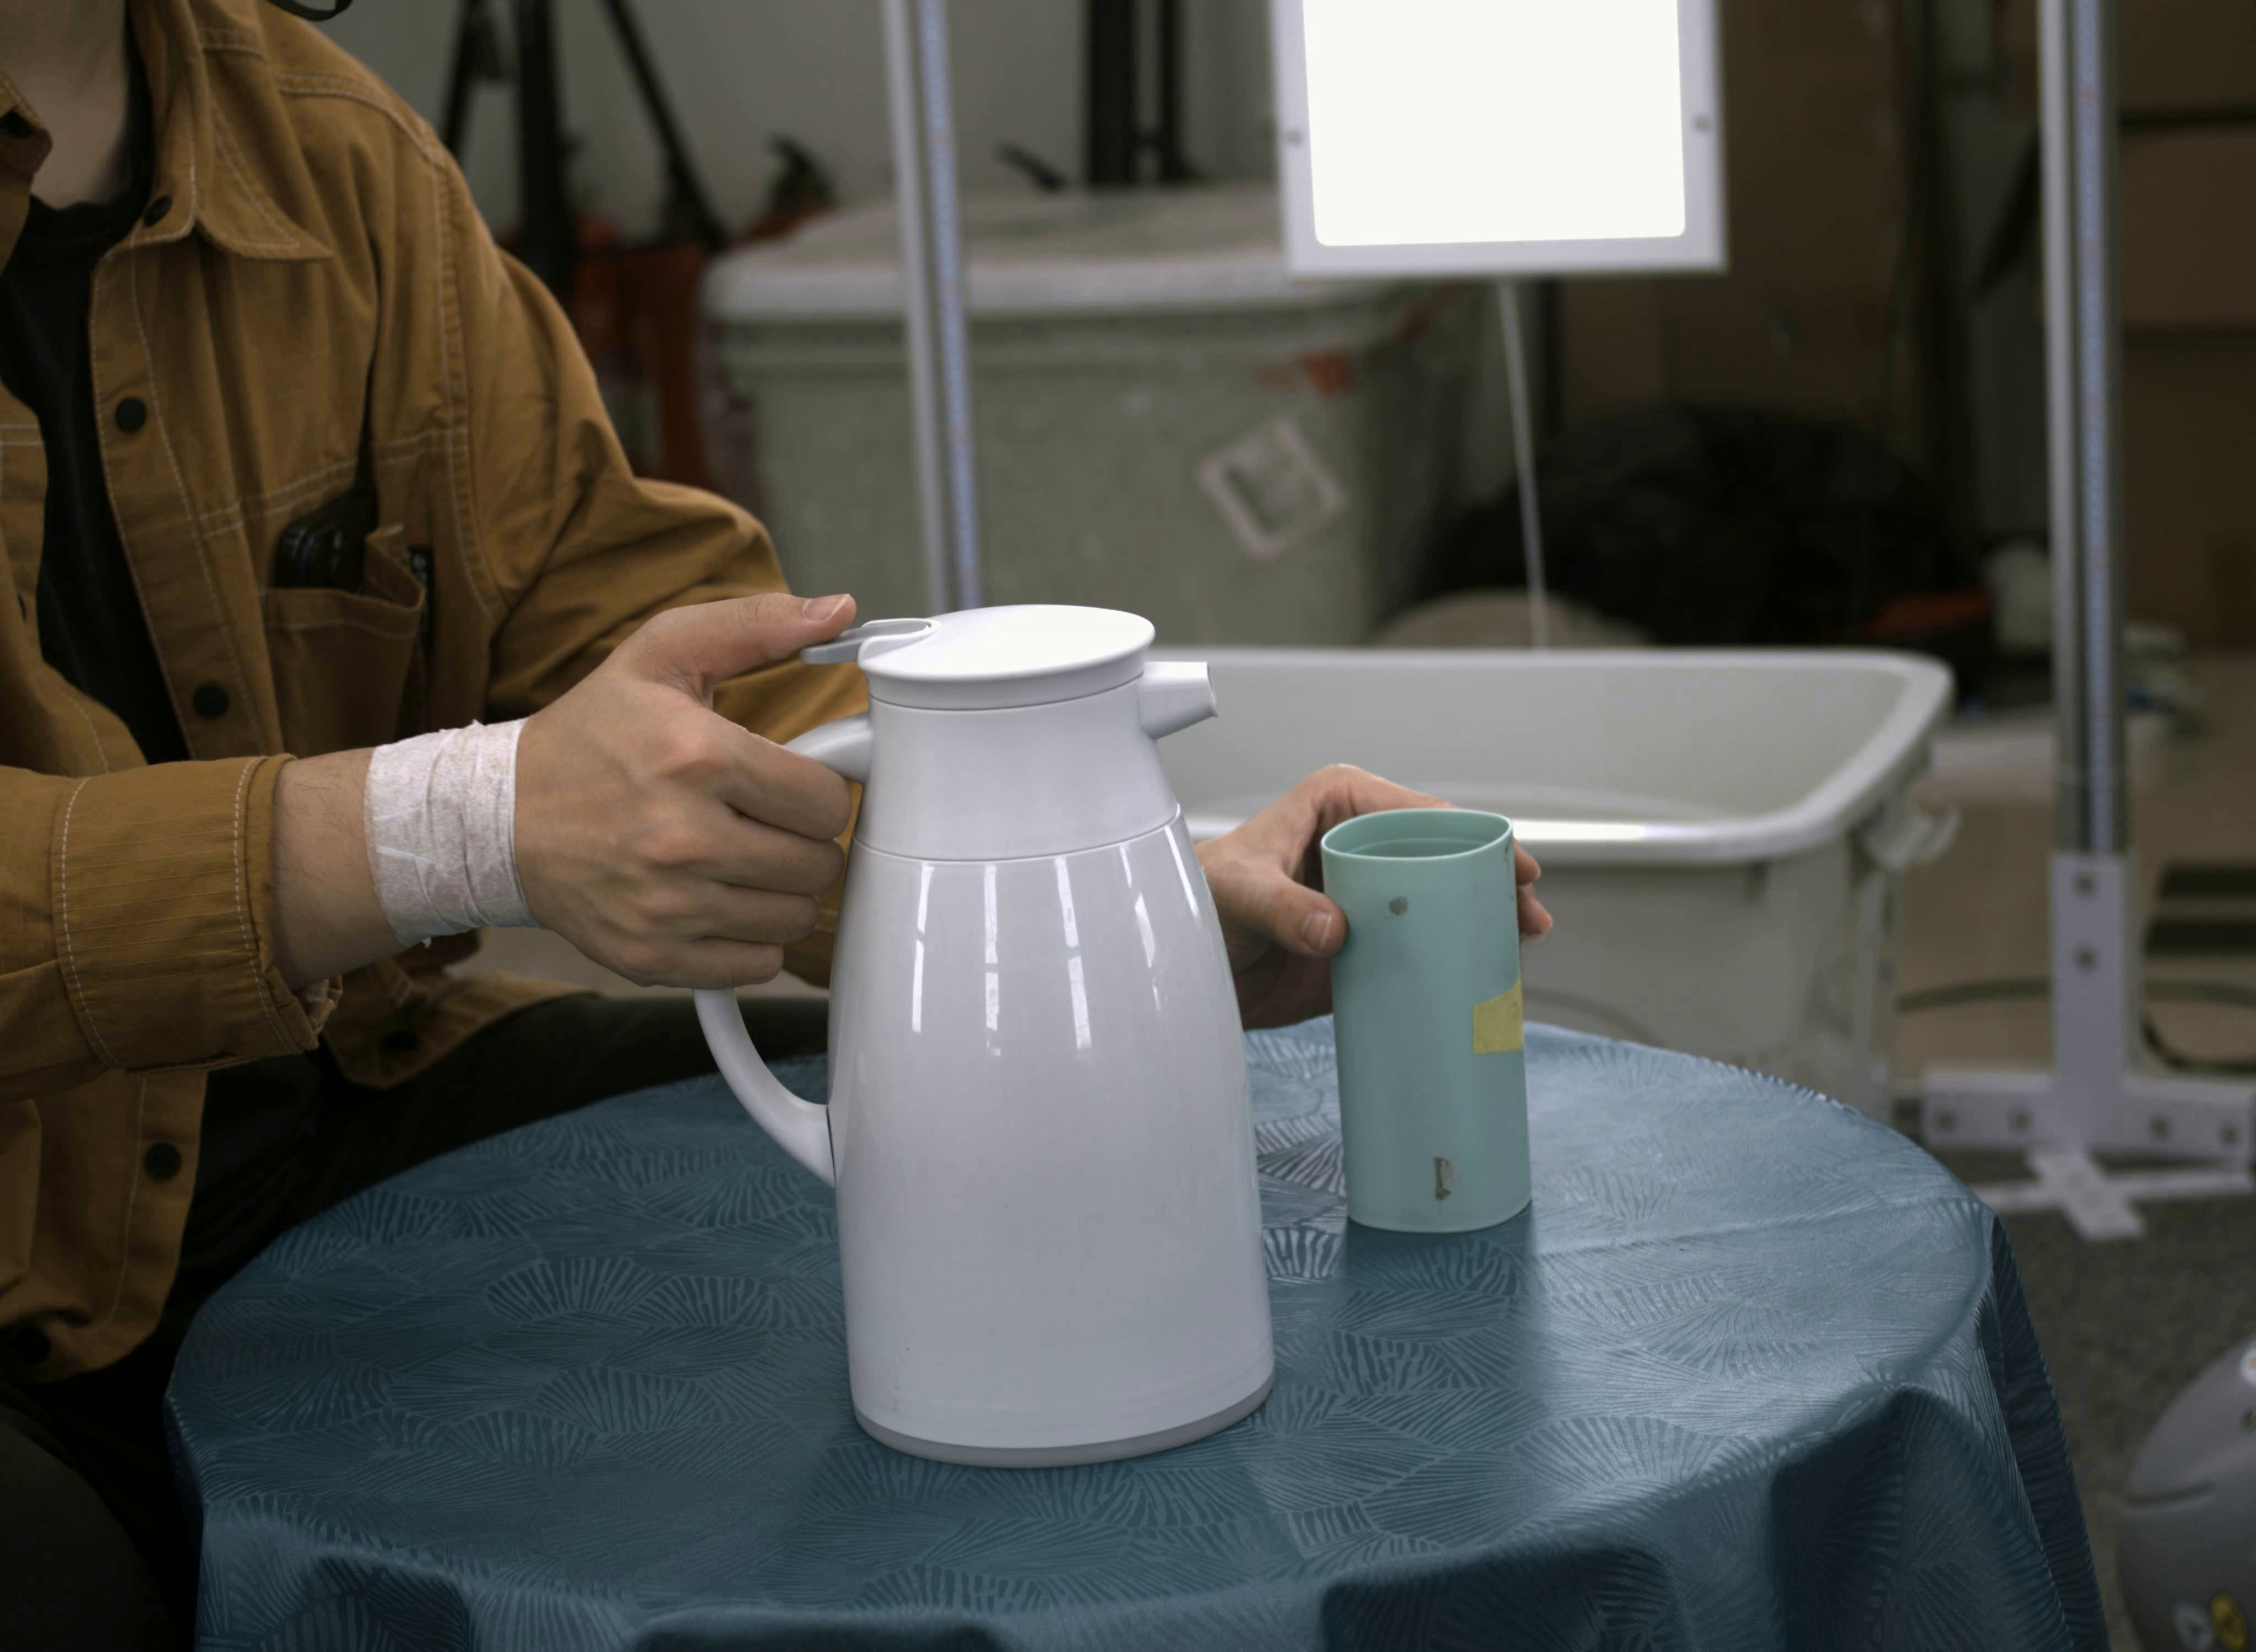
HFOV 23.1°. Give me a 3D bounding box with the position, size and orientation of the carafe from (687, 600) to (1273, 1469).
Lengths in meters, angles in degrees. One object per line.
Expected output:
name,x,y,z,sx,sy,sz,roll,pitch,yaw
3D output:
carafe,-0.048,0.058,1.675,0.167,0.249,0.132,-5,14,2

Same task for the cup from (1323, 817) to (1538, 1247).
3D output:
cup,0.101,0.068,1.838,0.066,0.133,0.066,-5,14,0
